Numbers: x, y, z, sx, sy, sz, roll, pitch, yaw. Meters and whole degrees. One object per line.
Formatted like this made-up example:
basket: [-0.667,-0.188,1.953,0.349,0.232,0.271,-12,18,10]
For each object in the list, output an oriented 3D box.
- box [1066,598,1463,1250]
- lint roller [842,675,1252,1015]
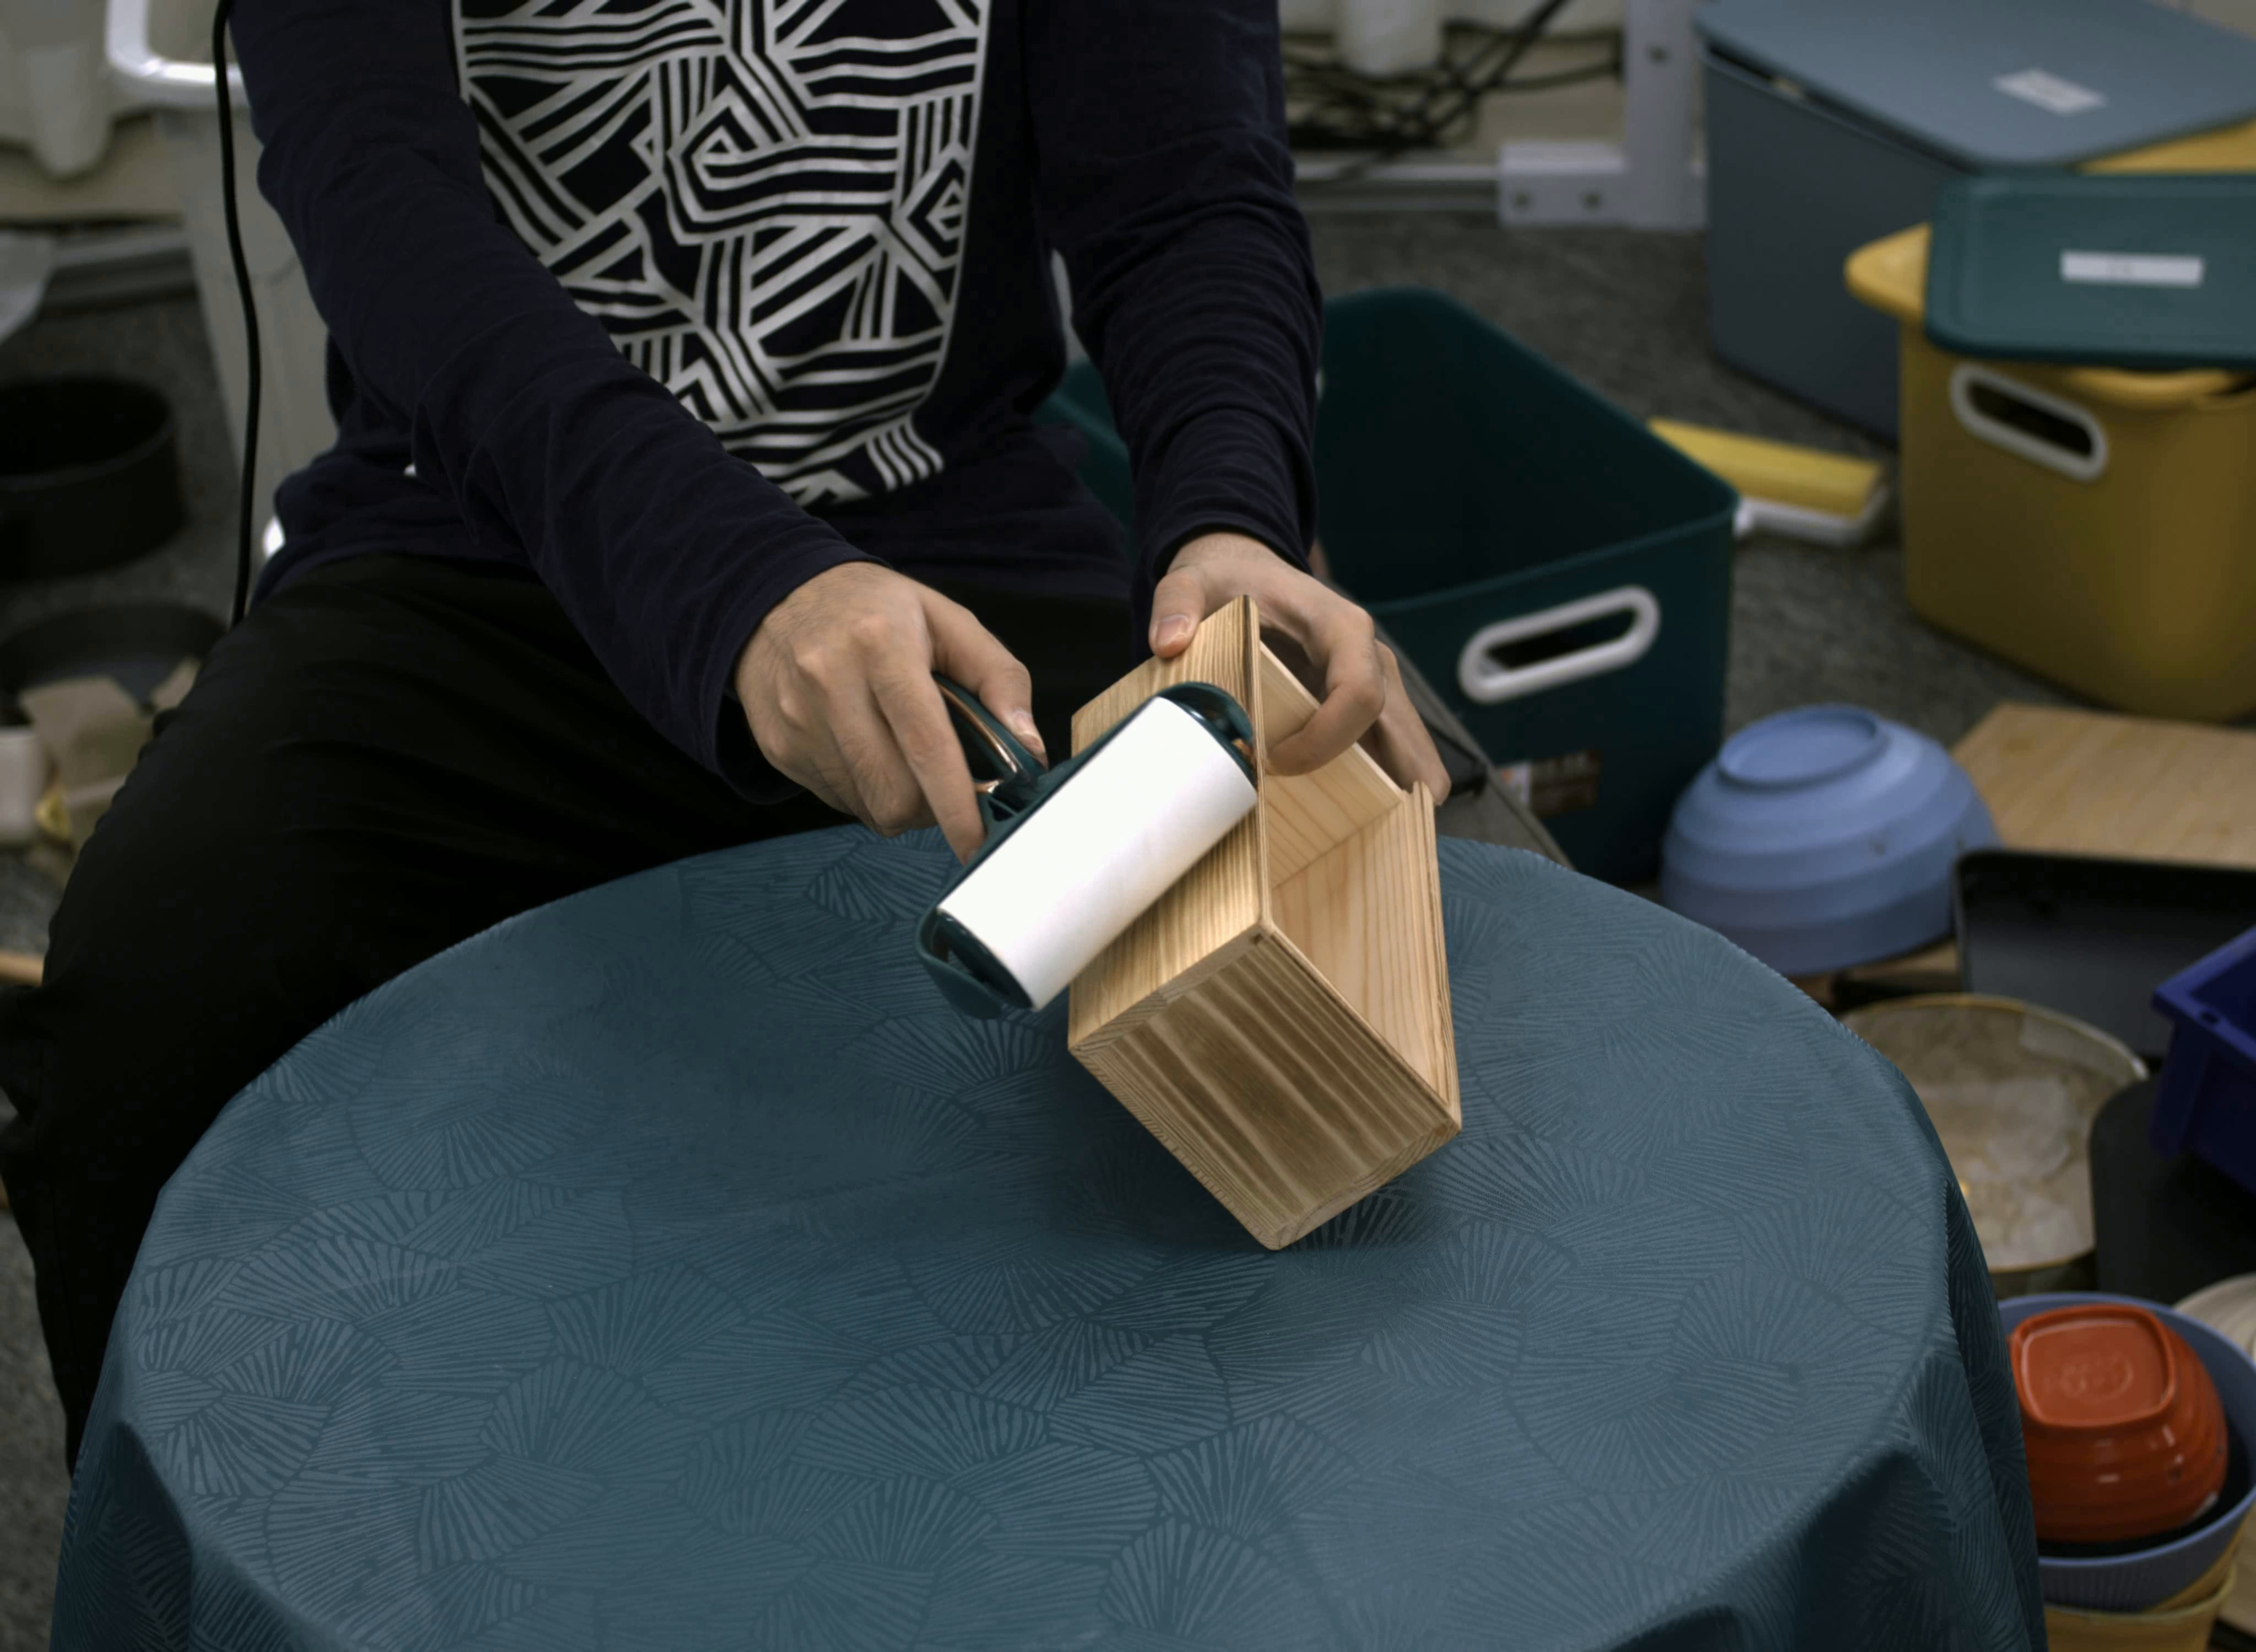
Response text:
box: [0.043,0.030,1.882,0.079,0.107,0.215,-36,25,18]
lint roller: [-0.050,-0.020,1.844,0.135,0.048,0.181,-44,43,-10]
